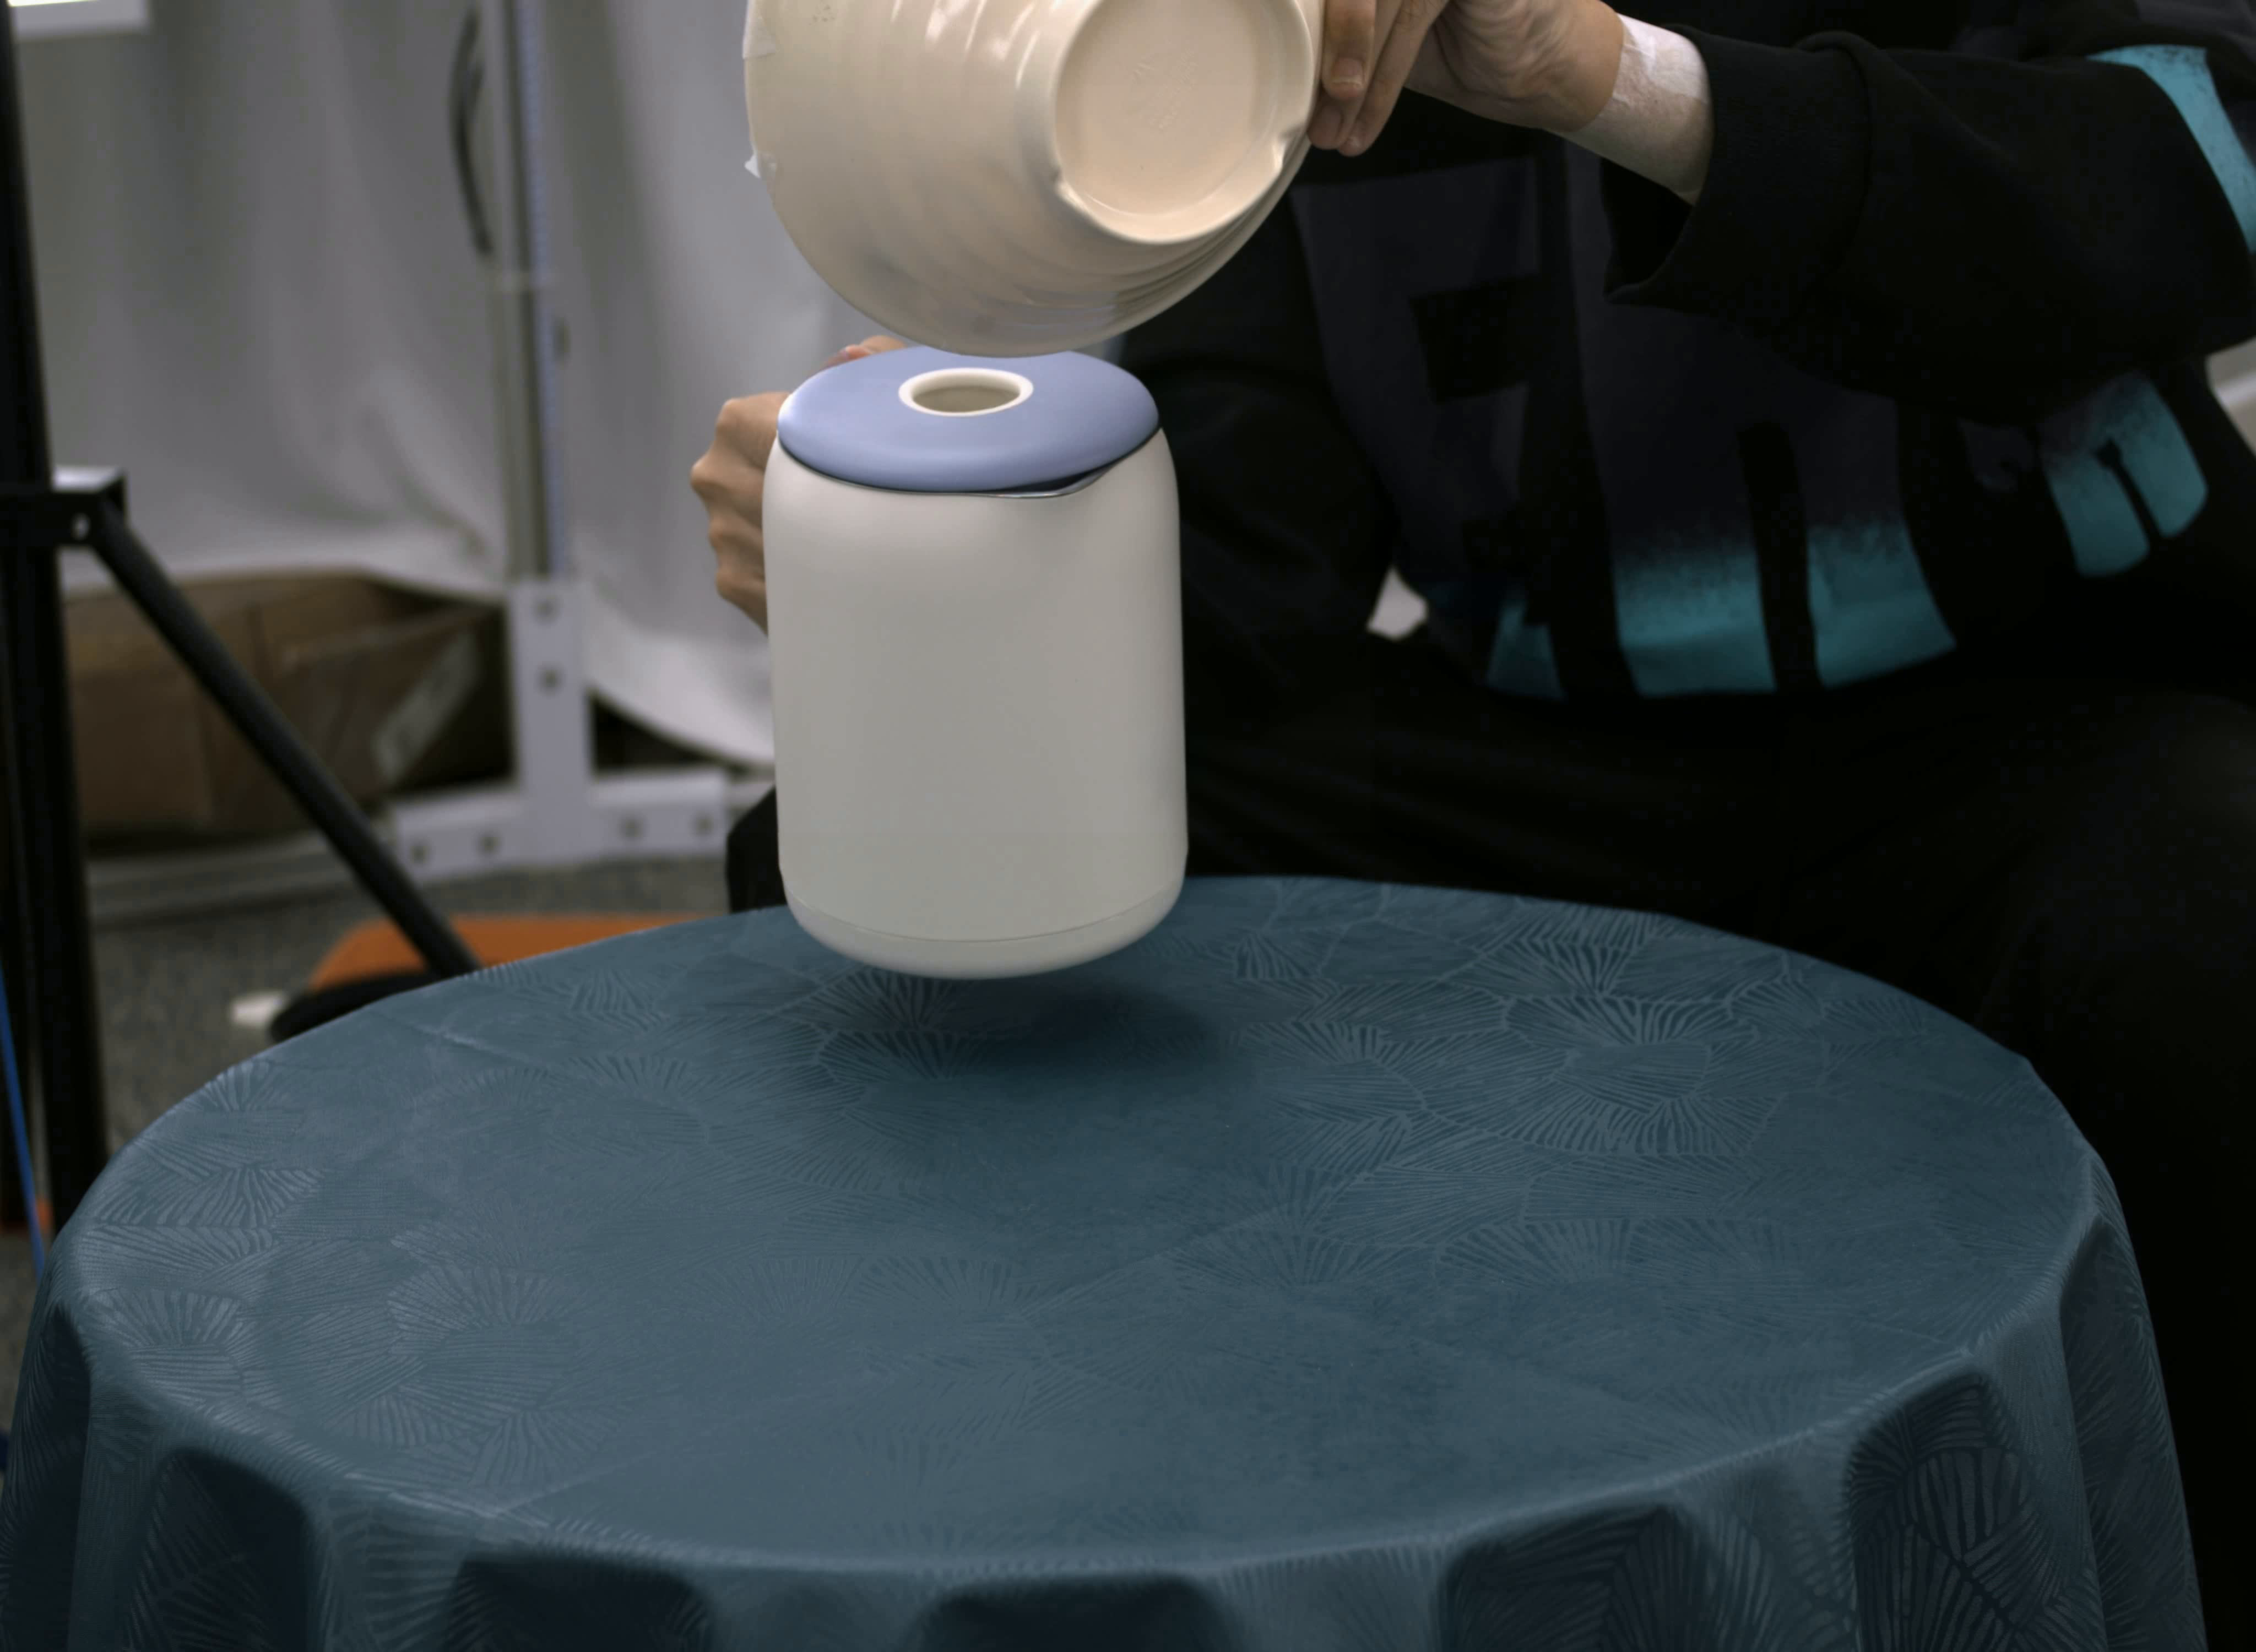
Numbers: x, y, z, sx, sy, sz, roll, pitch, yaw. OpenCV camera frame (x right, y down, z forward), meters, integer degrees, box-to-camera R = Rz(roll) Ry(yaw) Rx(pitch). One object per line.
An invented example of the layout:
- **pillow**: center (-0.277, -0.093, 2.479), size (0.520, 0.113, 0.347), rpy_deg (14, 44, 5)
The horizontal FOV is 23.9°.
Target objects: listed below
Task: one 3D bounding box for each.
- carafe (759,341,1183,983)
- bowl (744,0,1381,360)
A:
- **carafe**: center (-0.061, -0.061, 1.706), size (0.129, 0.182, 0.195), rpy_deg (-12, 23, -25)
- **bowl**: center (-0.002, -0.218, 1.525), size (0.200, 0.204, 0.079), rpy_deg (-8, 26, -21)
